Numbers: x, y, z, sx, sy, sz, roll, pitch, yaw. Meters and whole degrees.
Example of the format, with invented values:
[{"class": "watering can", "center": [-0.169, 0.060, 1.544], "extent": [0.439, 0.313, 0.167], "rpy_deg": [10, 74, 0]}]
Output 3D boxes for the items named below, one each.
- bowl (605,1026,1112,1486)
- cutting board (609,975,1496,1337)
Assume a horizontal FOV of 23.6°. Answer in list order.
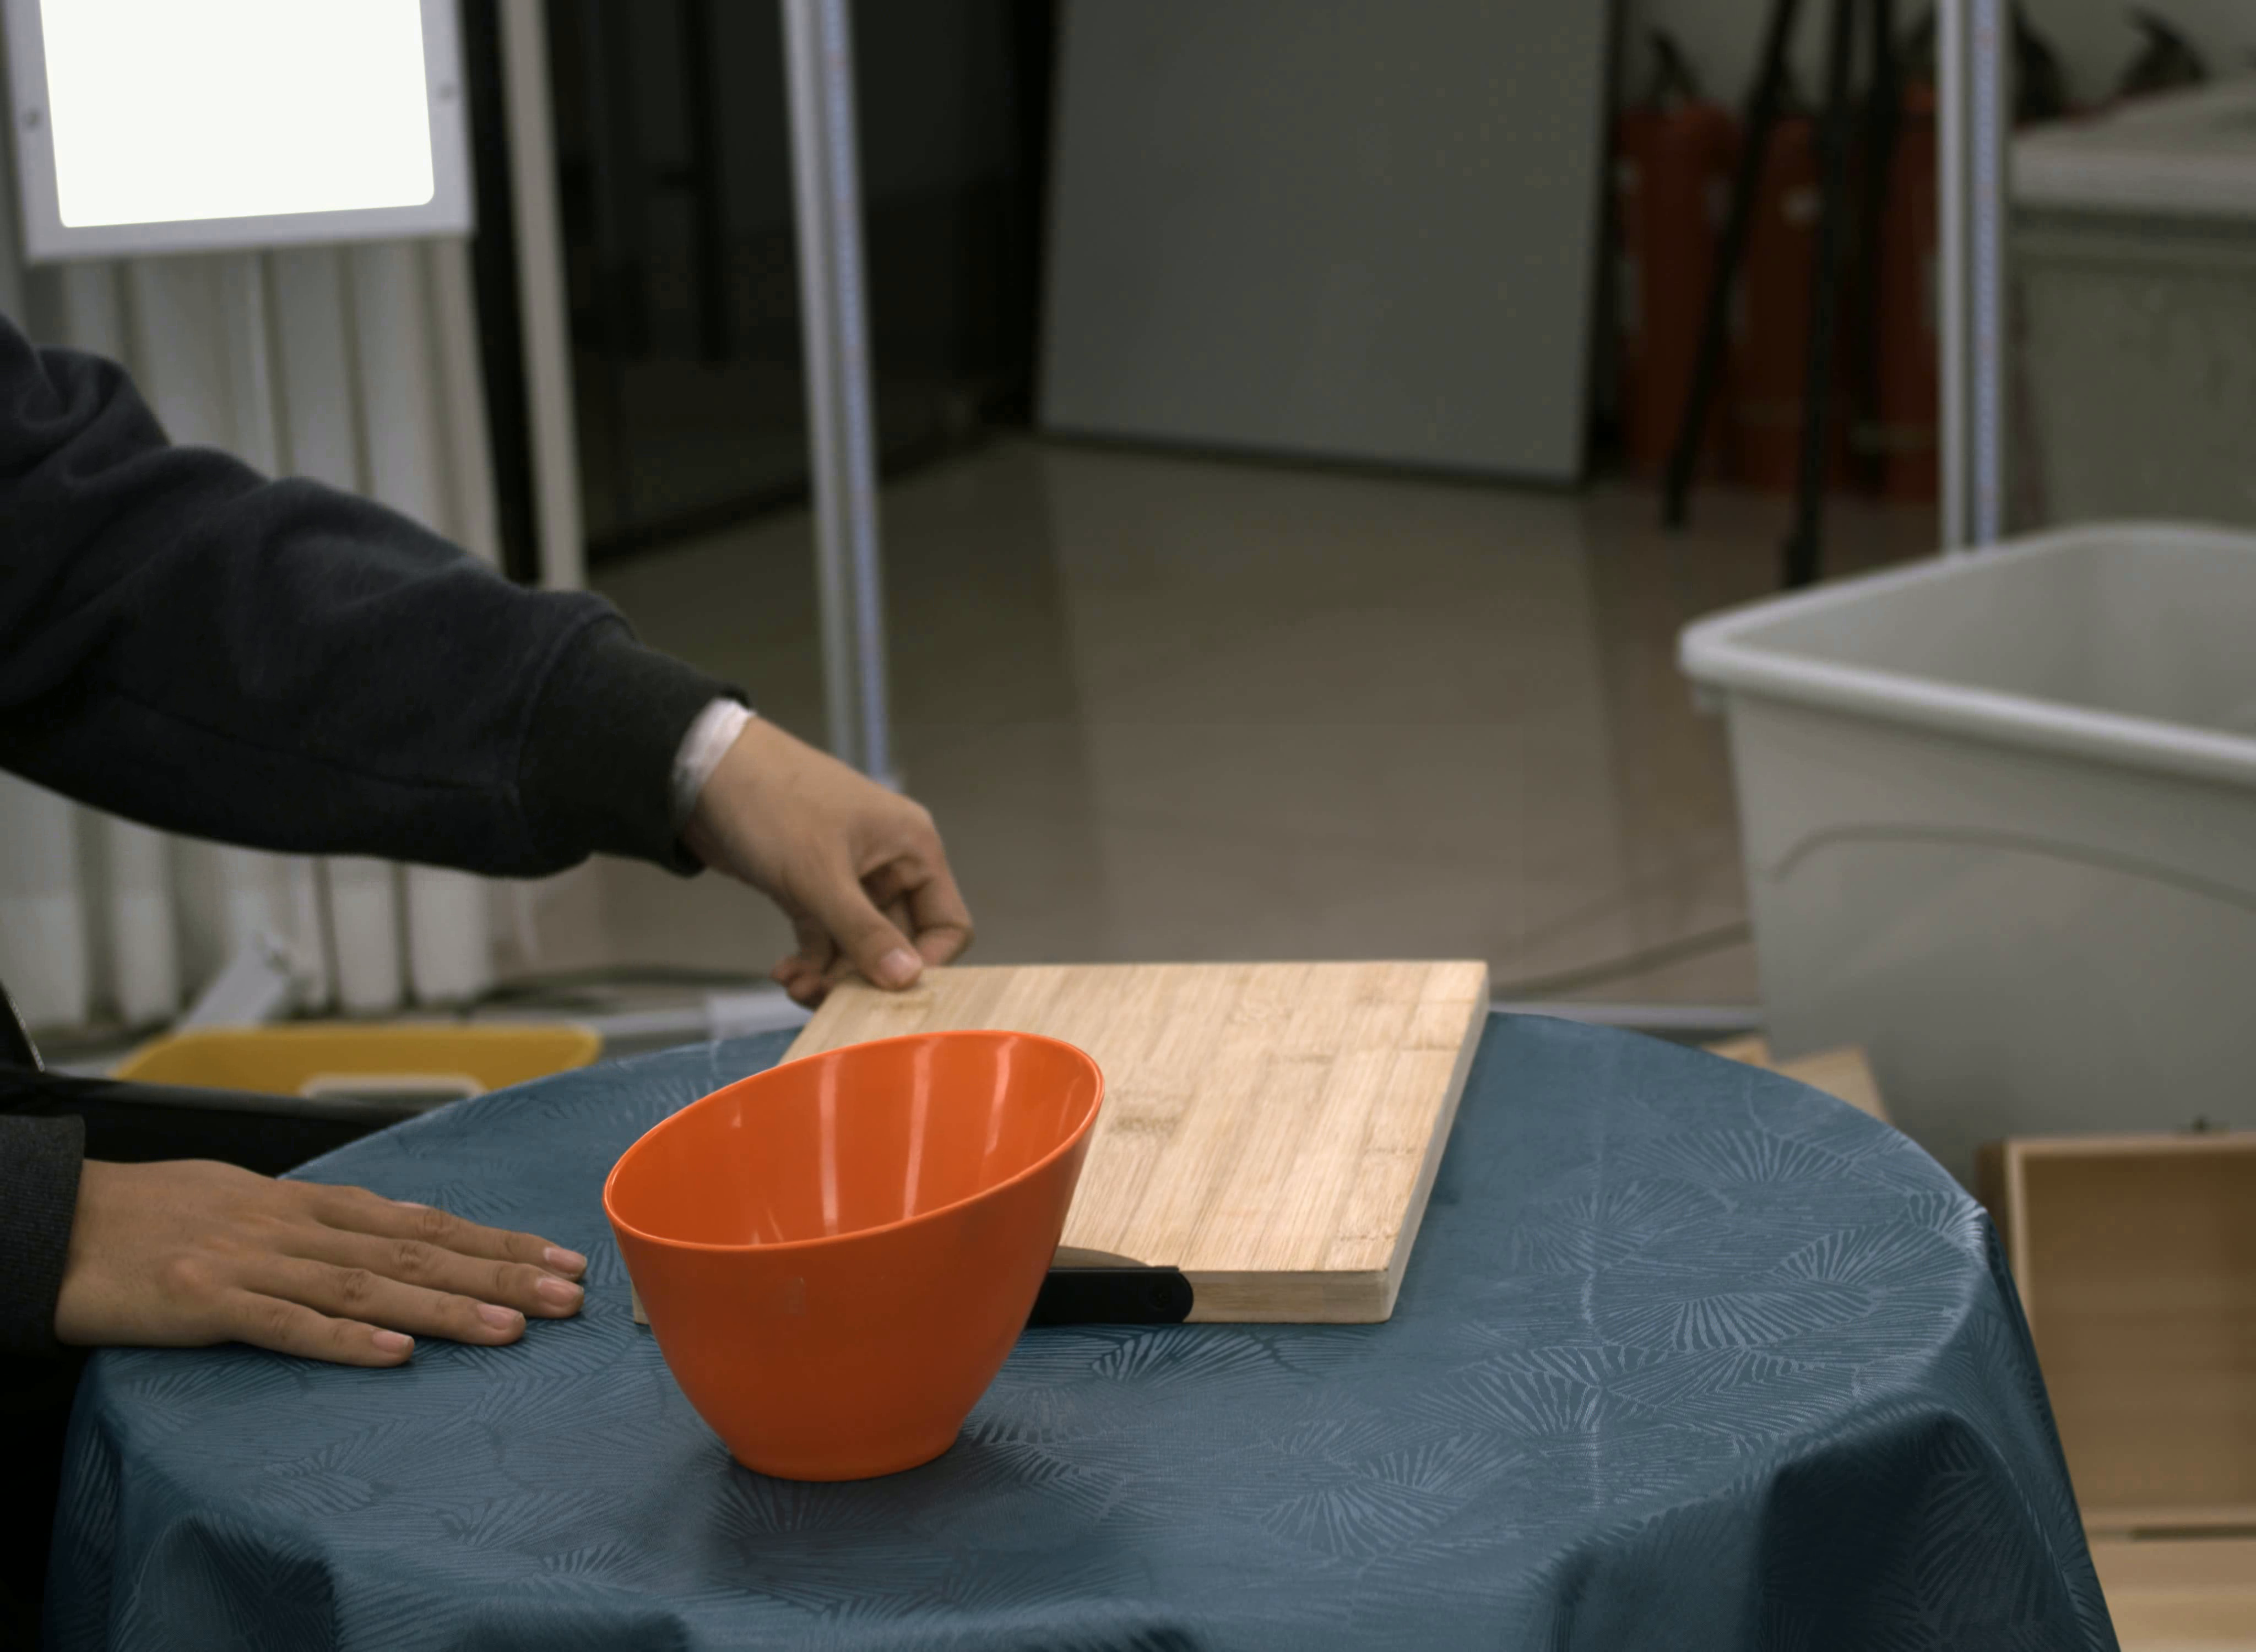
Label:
[{"class": "bowl", "center": [-0.074, 0.127, 1.550], "extent": [0.146, 0.106, 0.148], "rpy_deg": [-3, 15, 0]}, {"class": "cutting board", "center": [-0.013, 0.106, 1.802], "extent": [0.249, 0.024, 0.347], "rpy_deg": [-2, 13, 10]}]
